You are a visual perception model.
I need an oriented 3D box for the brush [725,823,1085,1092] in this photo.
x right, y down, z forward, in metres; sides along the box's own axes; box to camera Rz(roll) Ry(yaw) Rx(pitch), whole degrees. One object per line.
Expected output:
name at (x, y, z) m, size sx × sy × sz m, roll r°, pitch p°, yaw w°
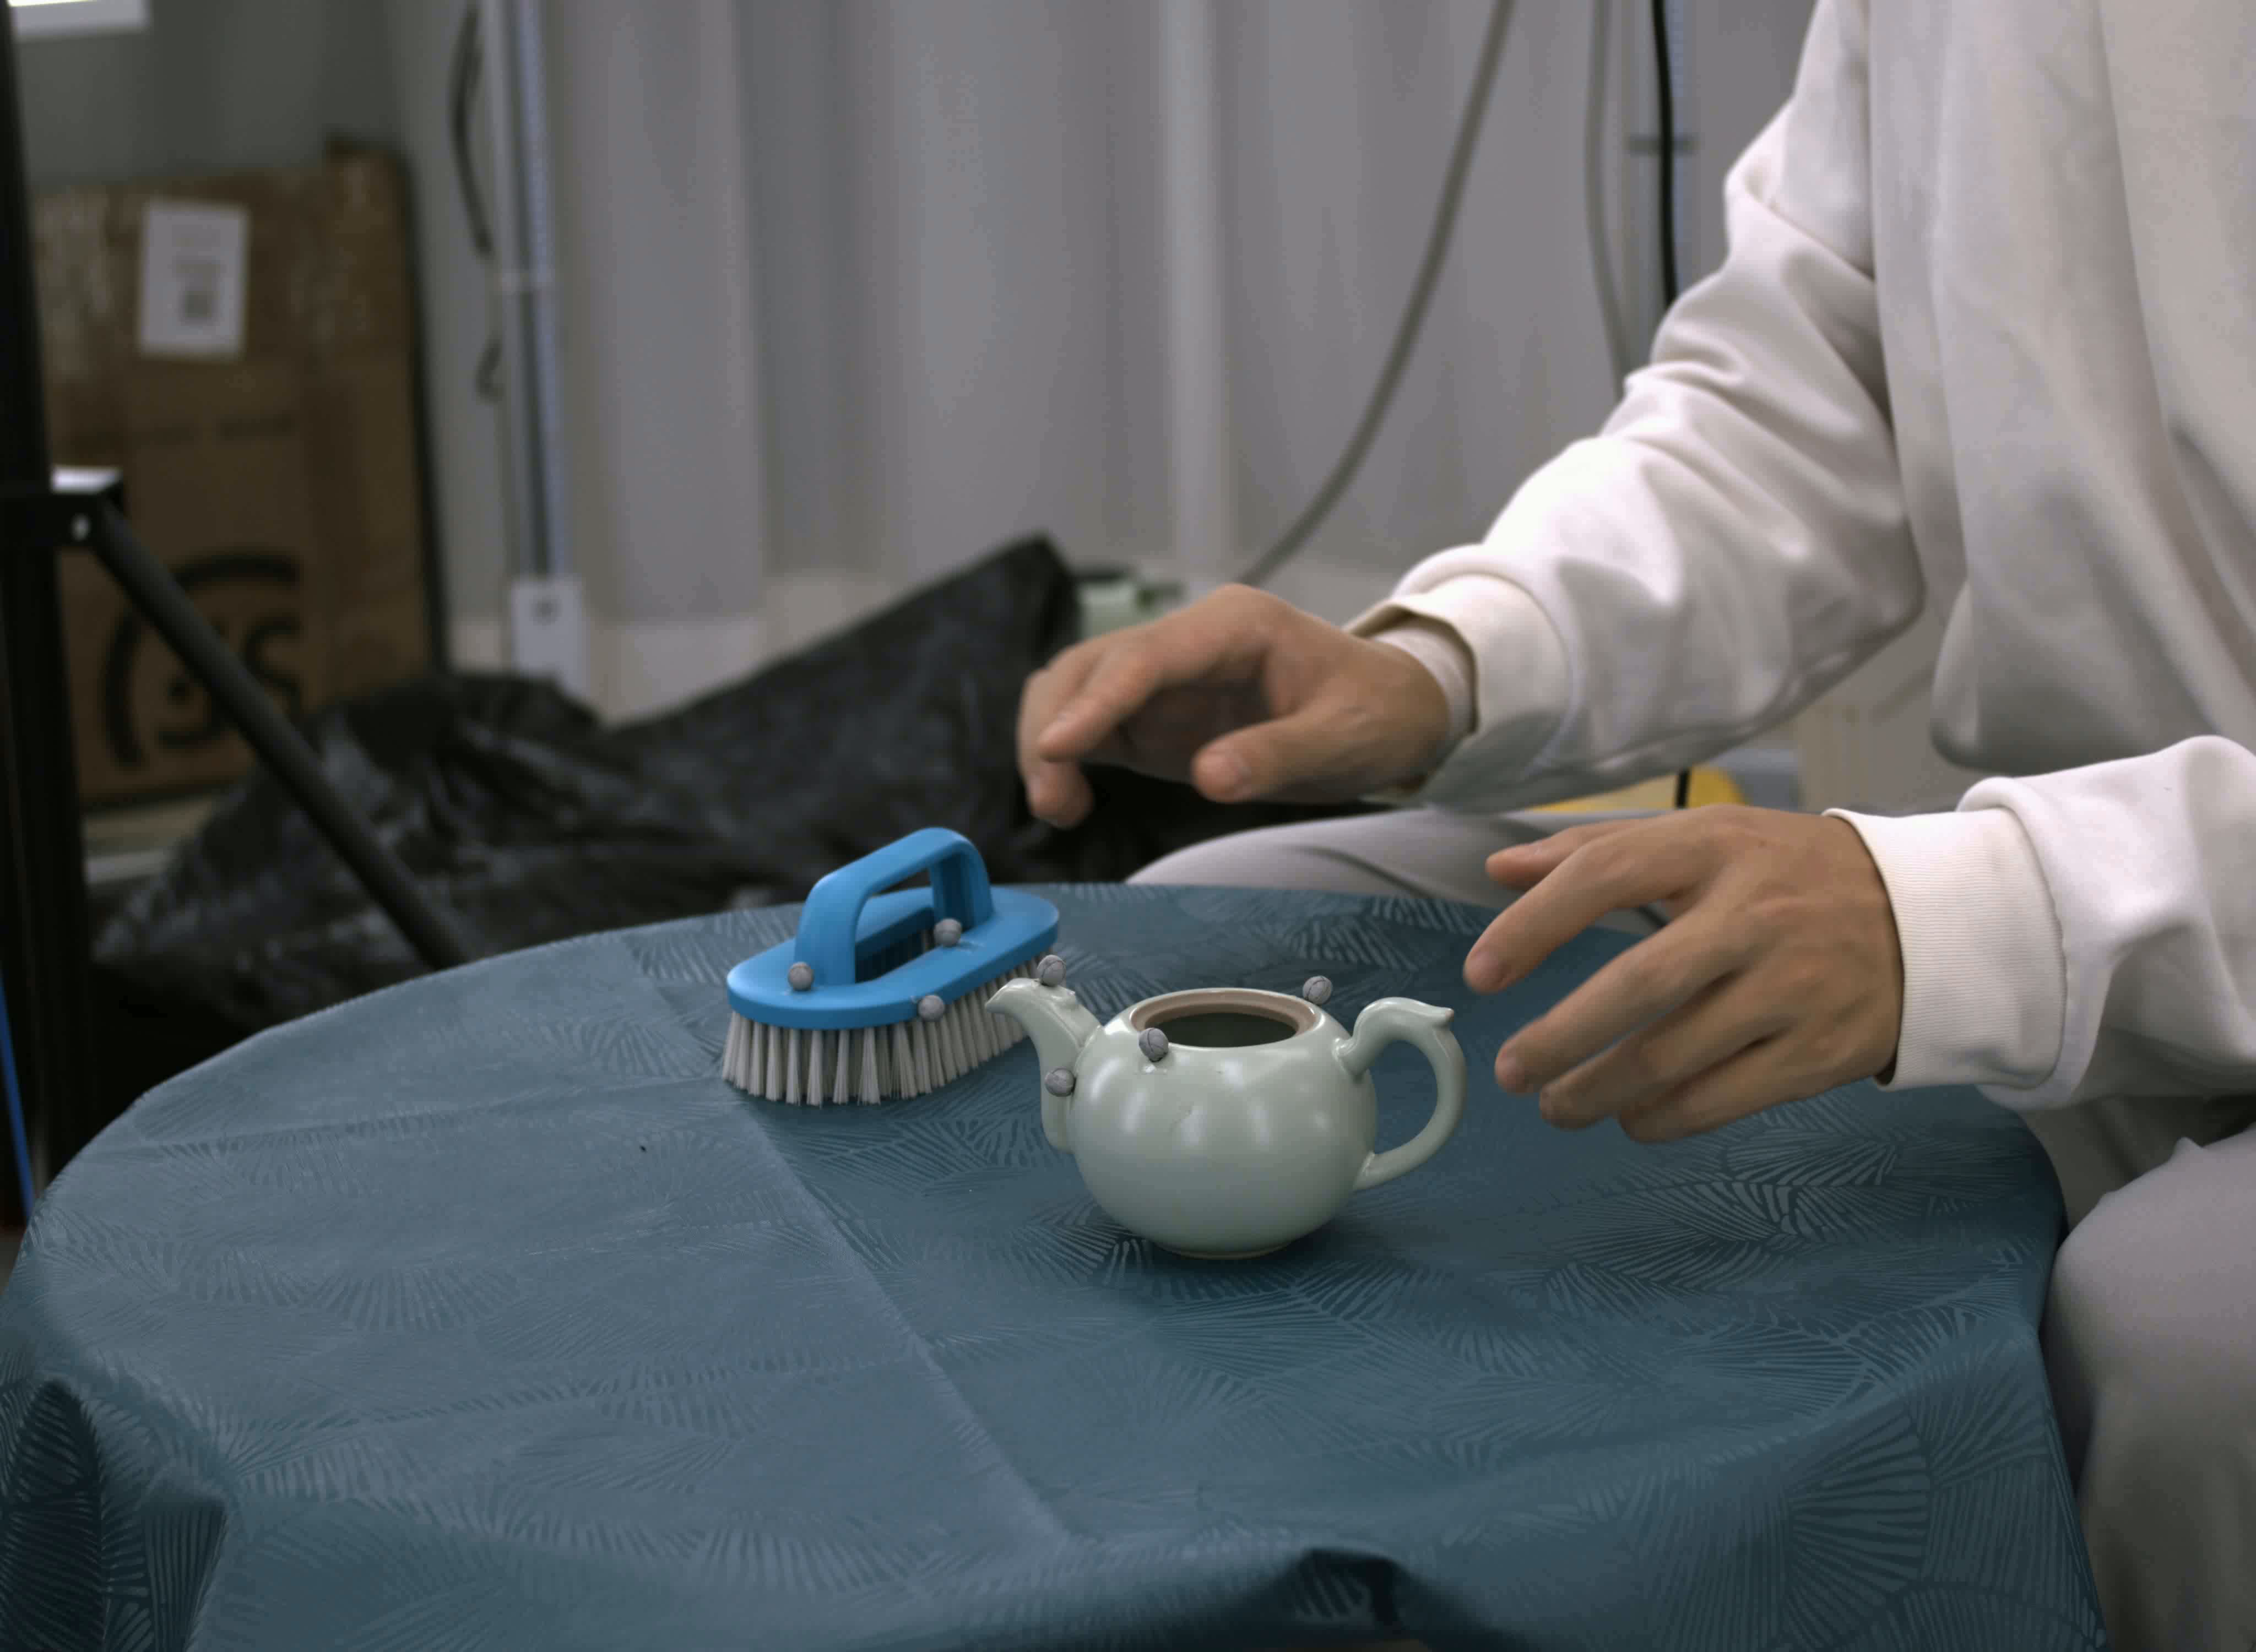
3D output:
brush at (-0.074, 0.037, 1.702) m, size 0.086 × 0.064 × 0.139 m, roll 2°, pitch 15°, yaw 32°

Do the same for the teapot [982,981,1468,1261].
teapot at (0.028, 0.083, 1.513) m, size 0.146 × 0.075 × 0.087 m, roll 1°, pitch 14°, yaw 23°
